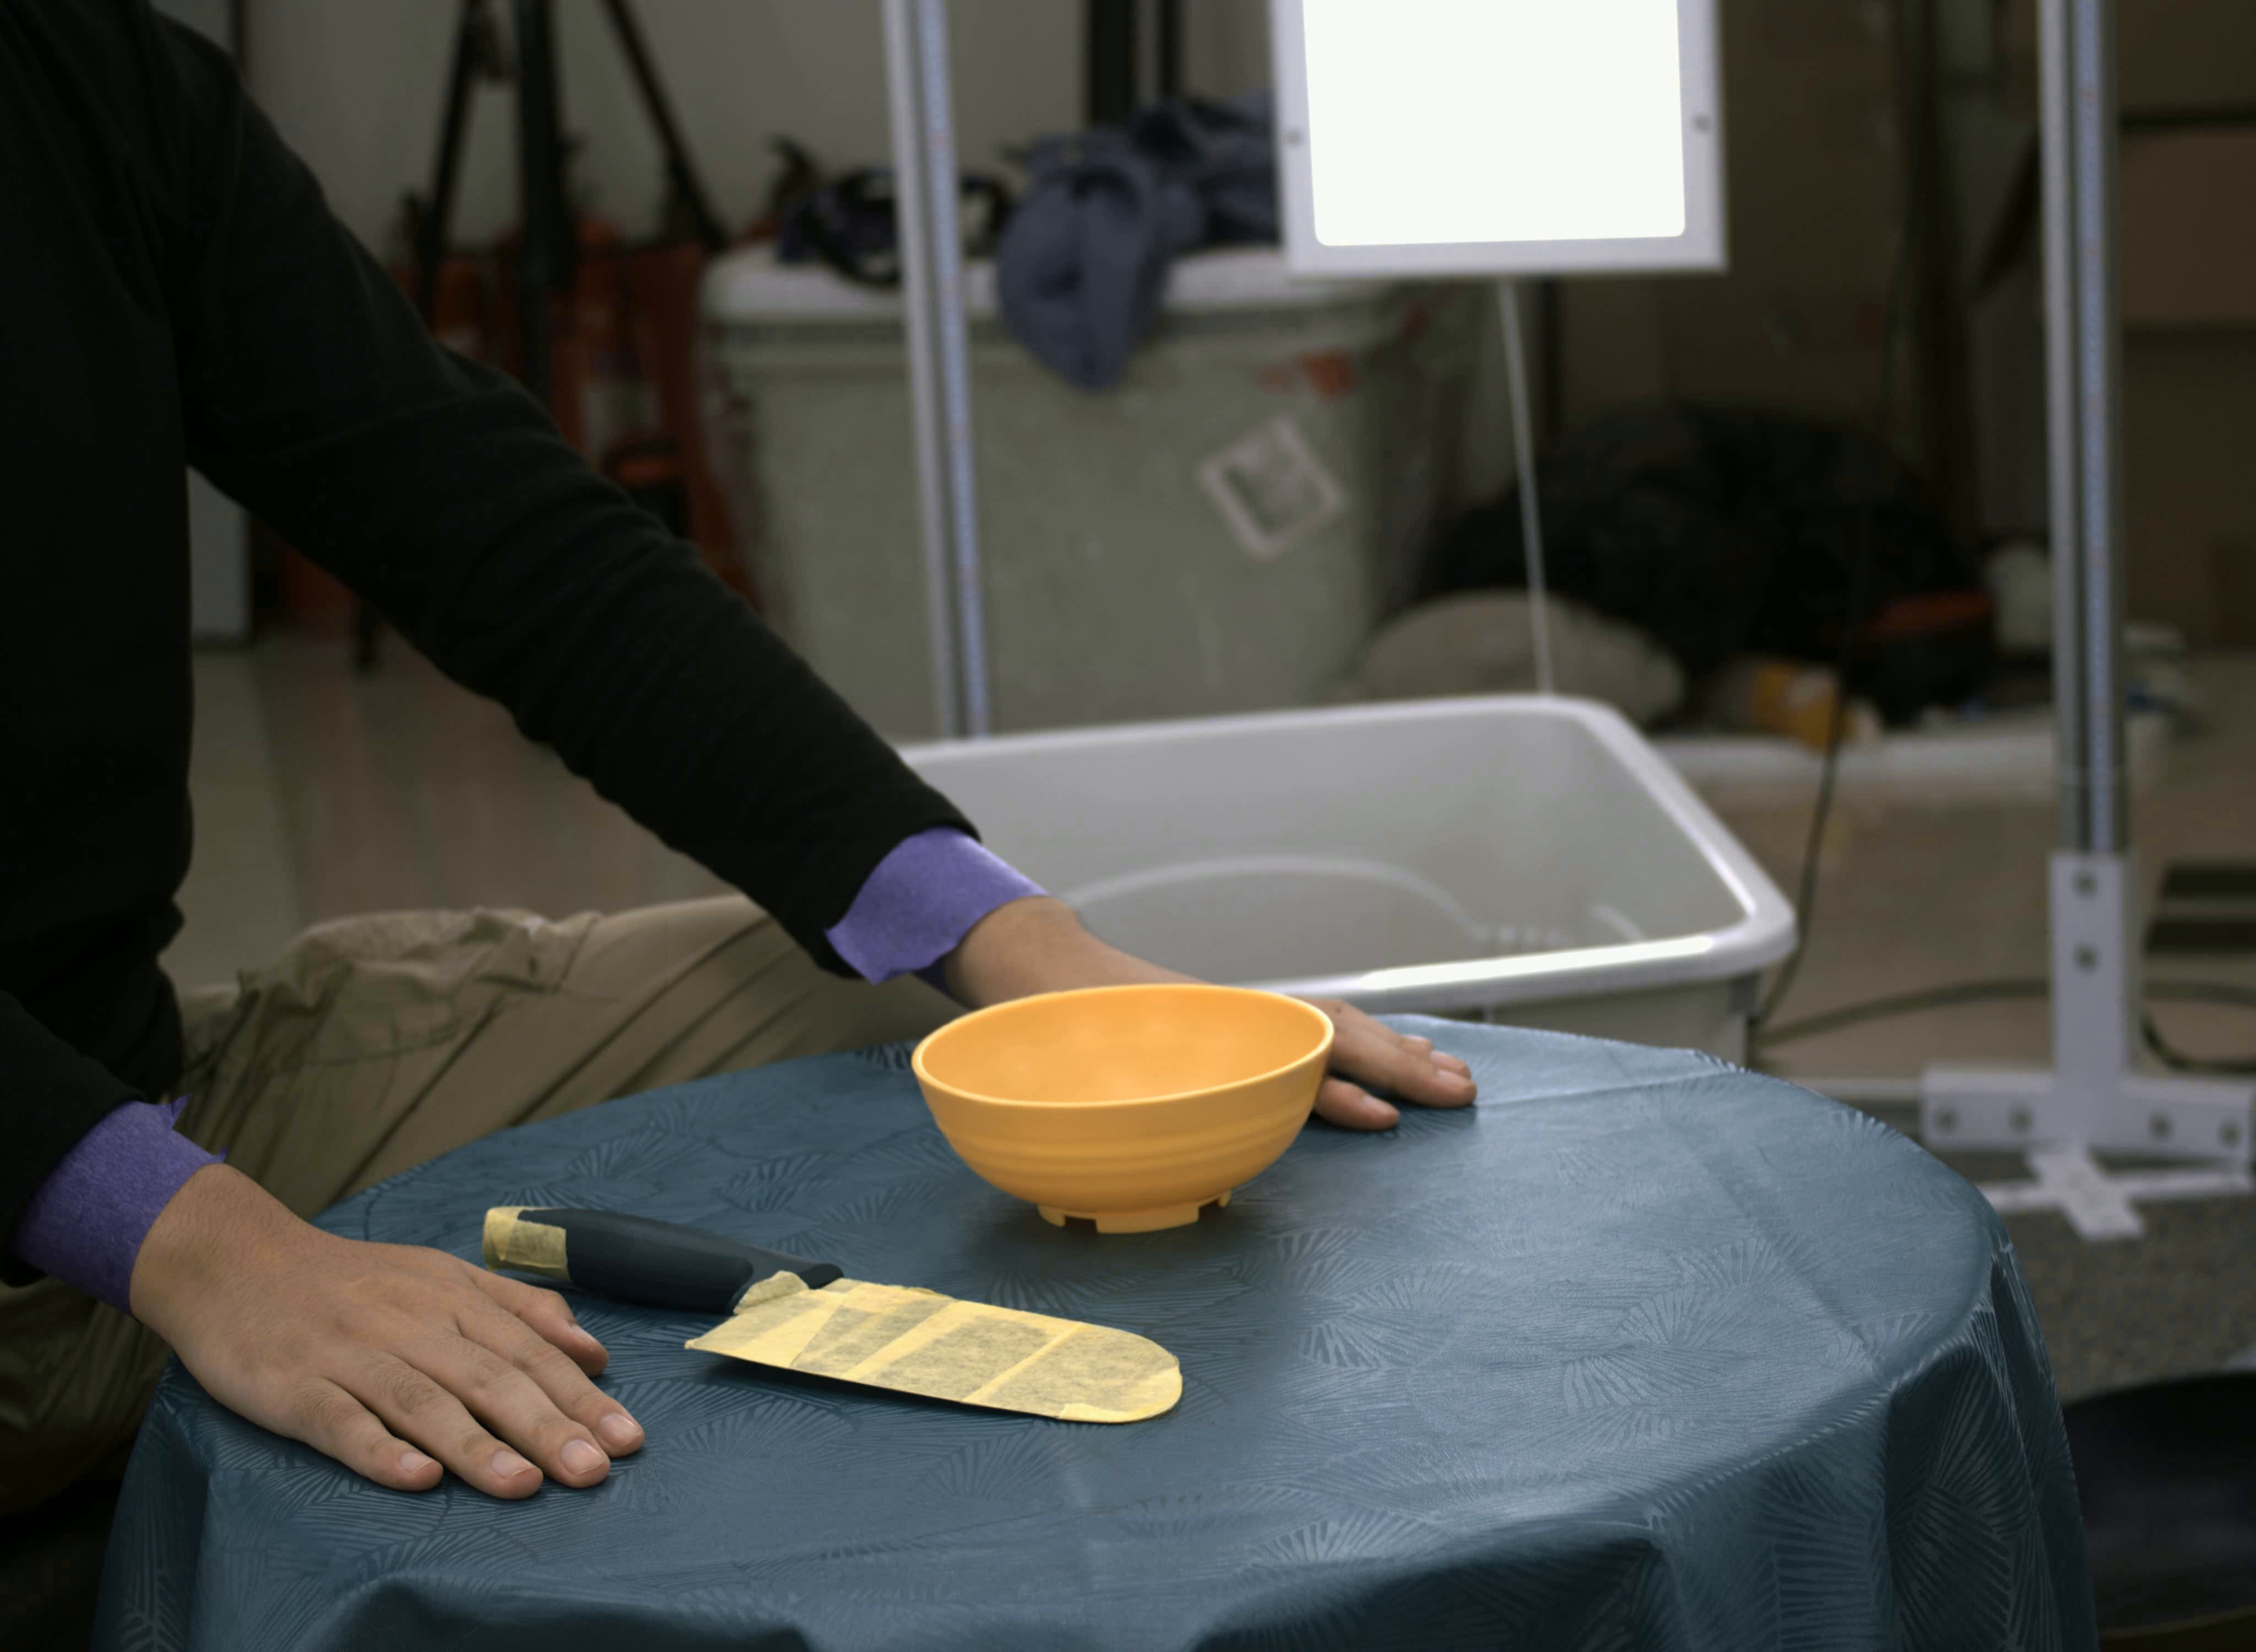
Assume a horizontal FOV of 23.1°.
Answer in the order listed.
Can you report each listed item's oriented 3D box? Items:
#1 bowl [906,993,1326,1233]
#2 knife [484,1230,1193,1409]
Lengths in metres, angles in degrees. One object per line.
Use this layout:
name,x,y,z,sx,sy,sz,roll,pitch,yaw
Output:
bowl,-0.003,0.102,1.879,0.145,0.060,0.145,-3,12,-1
knife,-0.101,0.160,1.770,0.295,0.027,0.079,6,16,35
